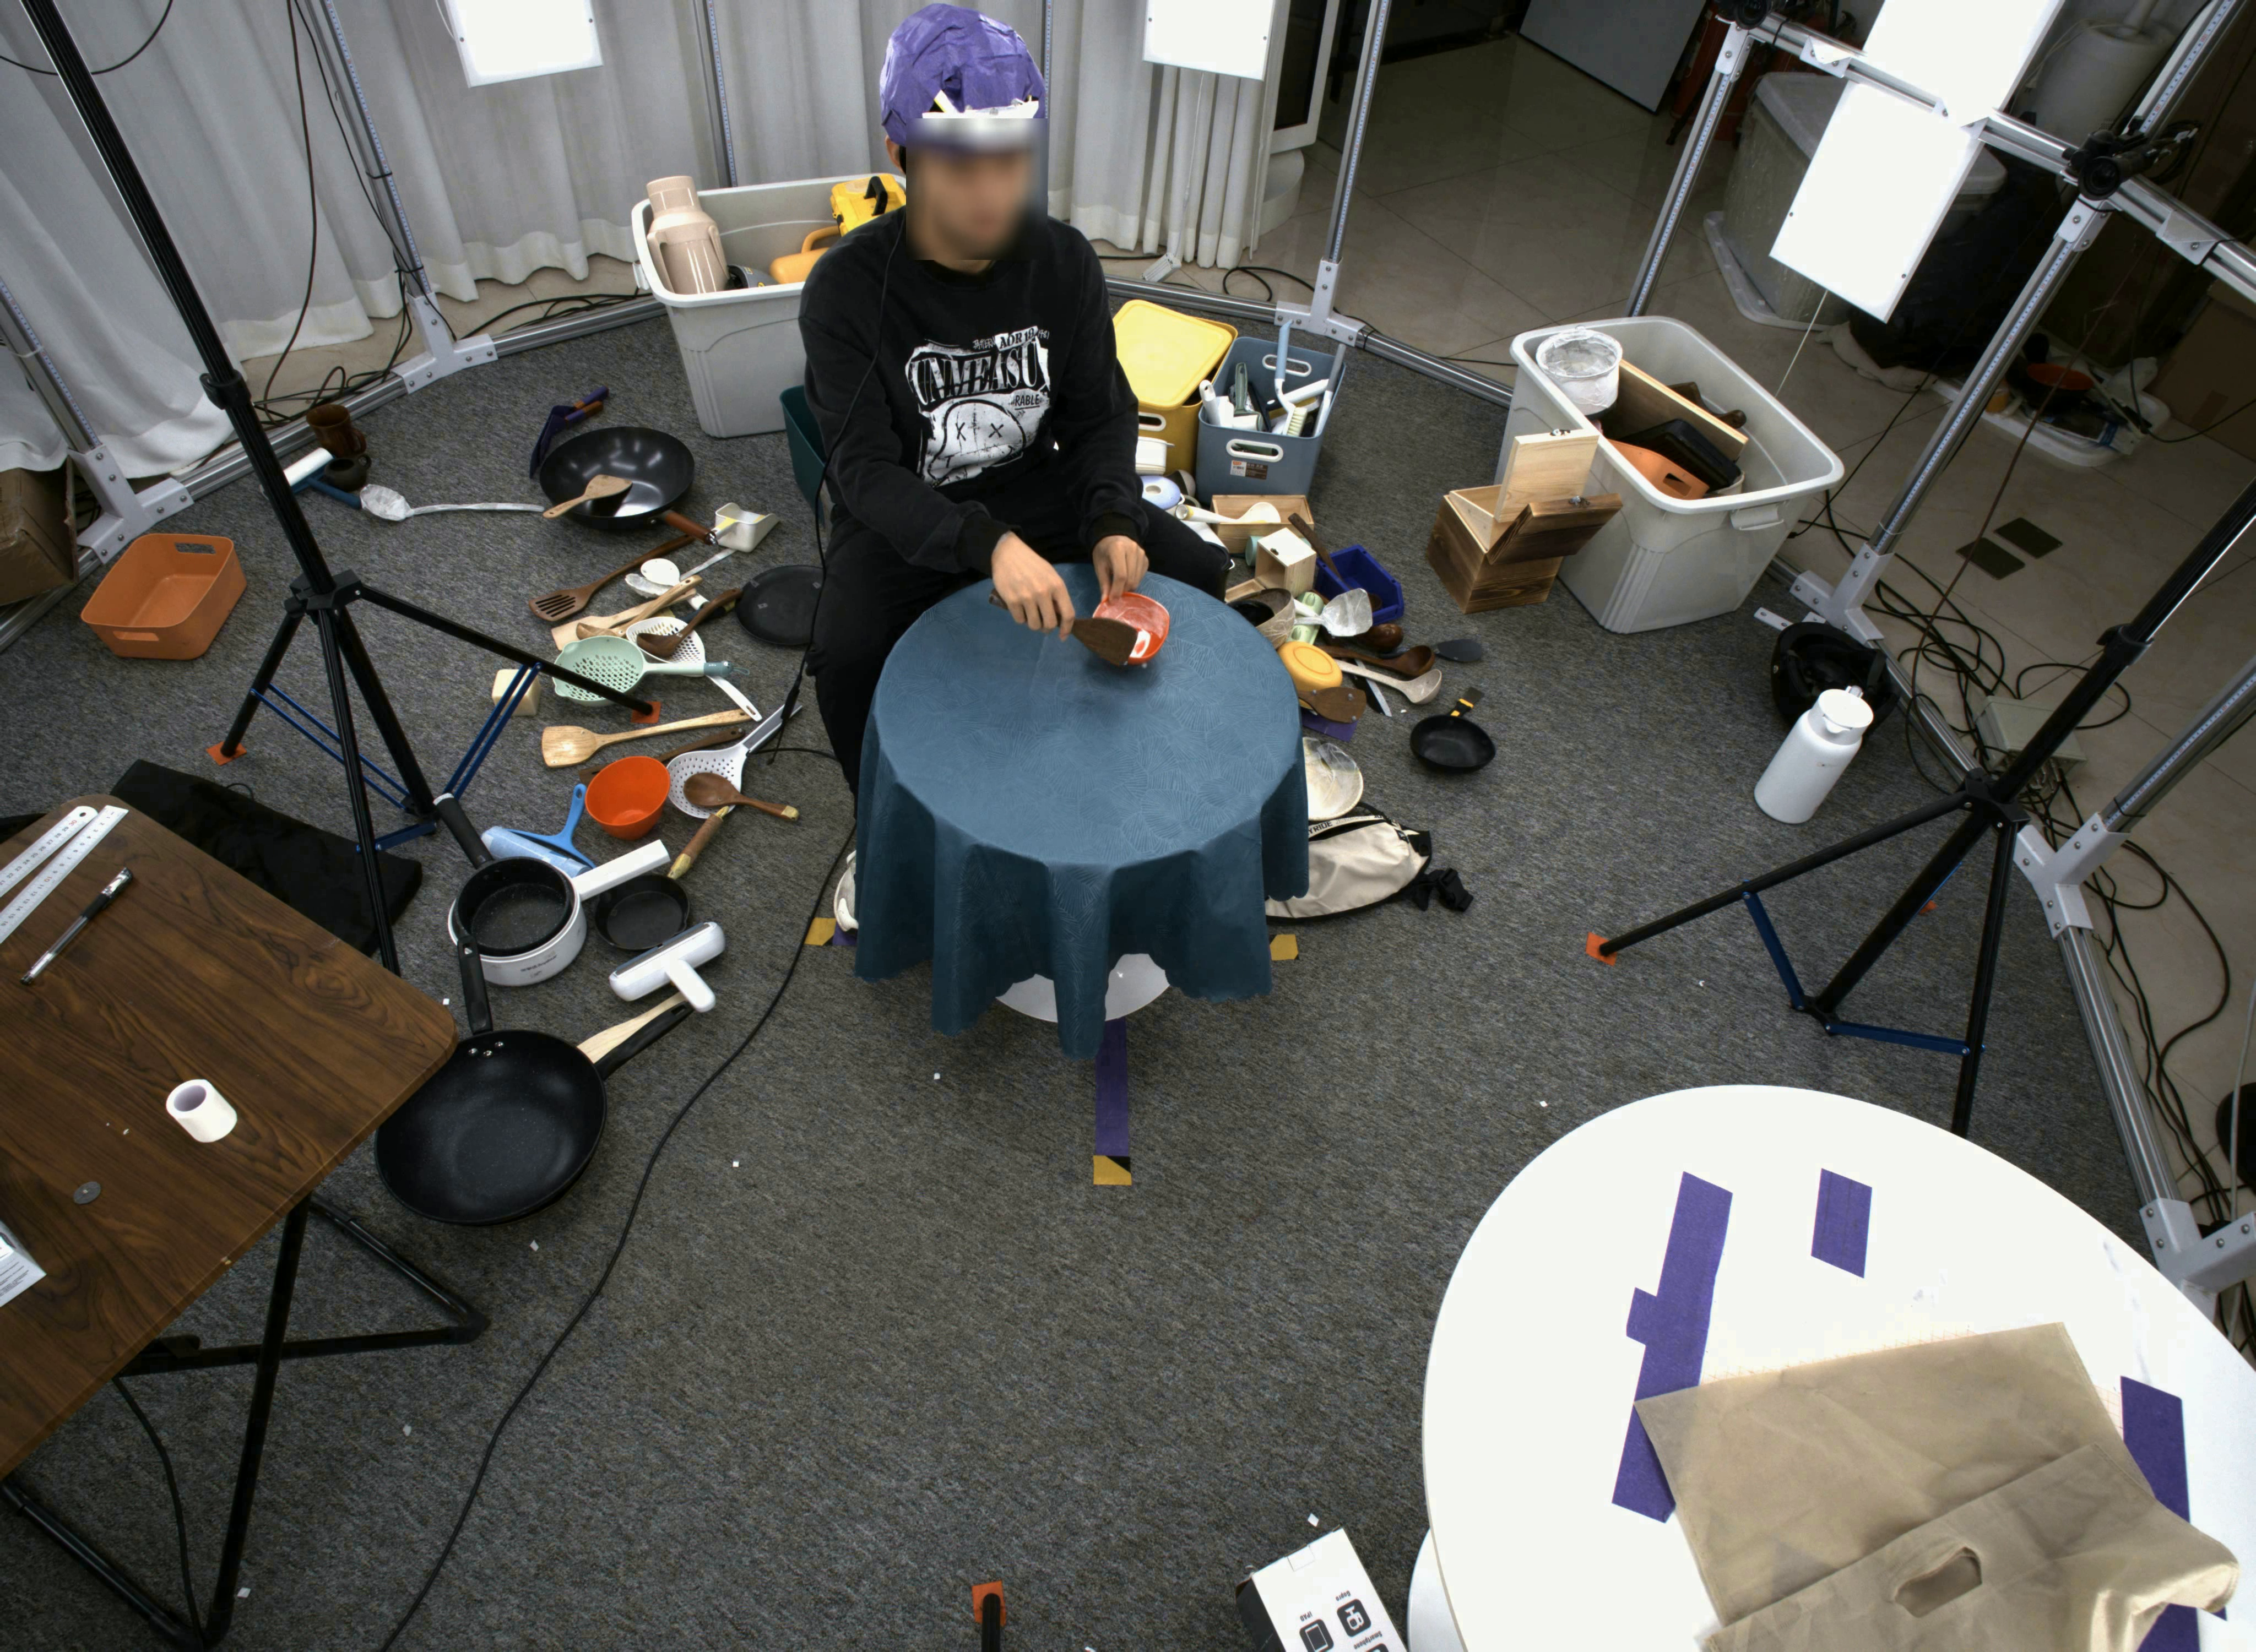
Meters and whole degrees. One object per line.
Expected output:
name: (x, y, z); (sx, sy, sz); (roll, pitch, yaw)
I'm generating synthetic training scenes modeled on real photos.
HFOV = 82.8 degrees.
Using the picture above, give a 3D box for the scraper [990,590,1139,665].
scraper: (-0.089, -0.283, 1.784); (0.210, 0.074, 0.011); (18, 47, -8)

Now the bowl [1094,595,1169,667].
bowl: (0.002, -0.277, 1.884); (0.119, 0.050, 0.121); (1, 63, -2)
